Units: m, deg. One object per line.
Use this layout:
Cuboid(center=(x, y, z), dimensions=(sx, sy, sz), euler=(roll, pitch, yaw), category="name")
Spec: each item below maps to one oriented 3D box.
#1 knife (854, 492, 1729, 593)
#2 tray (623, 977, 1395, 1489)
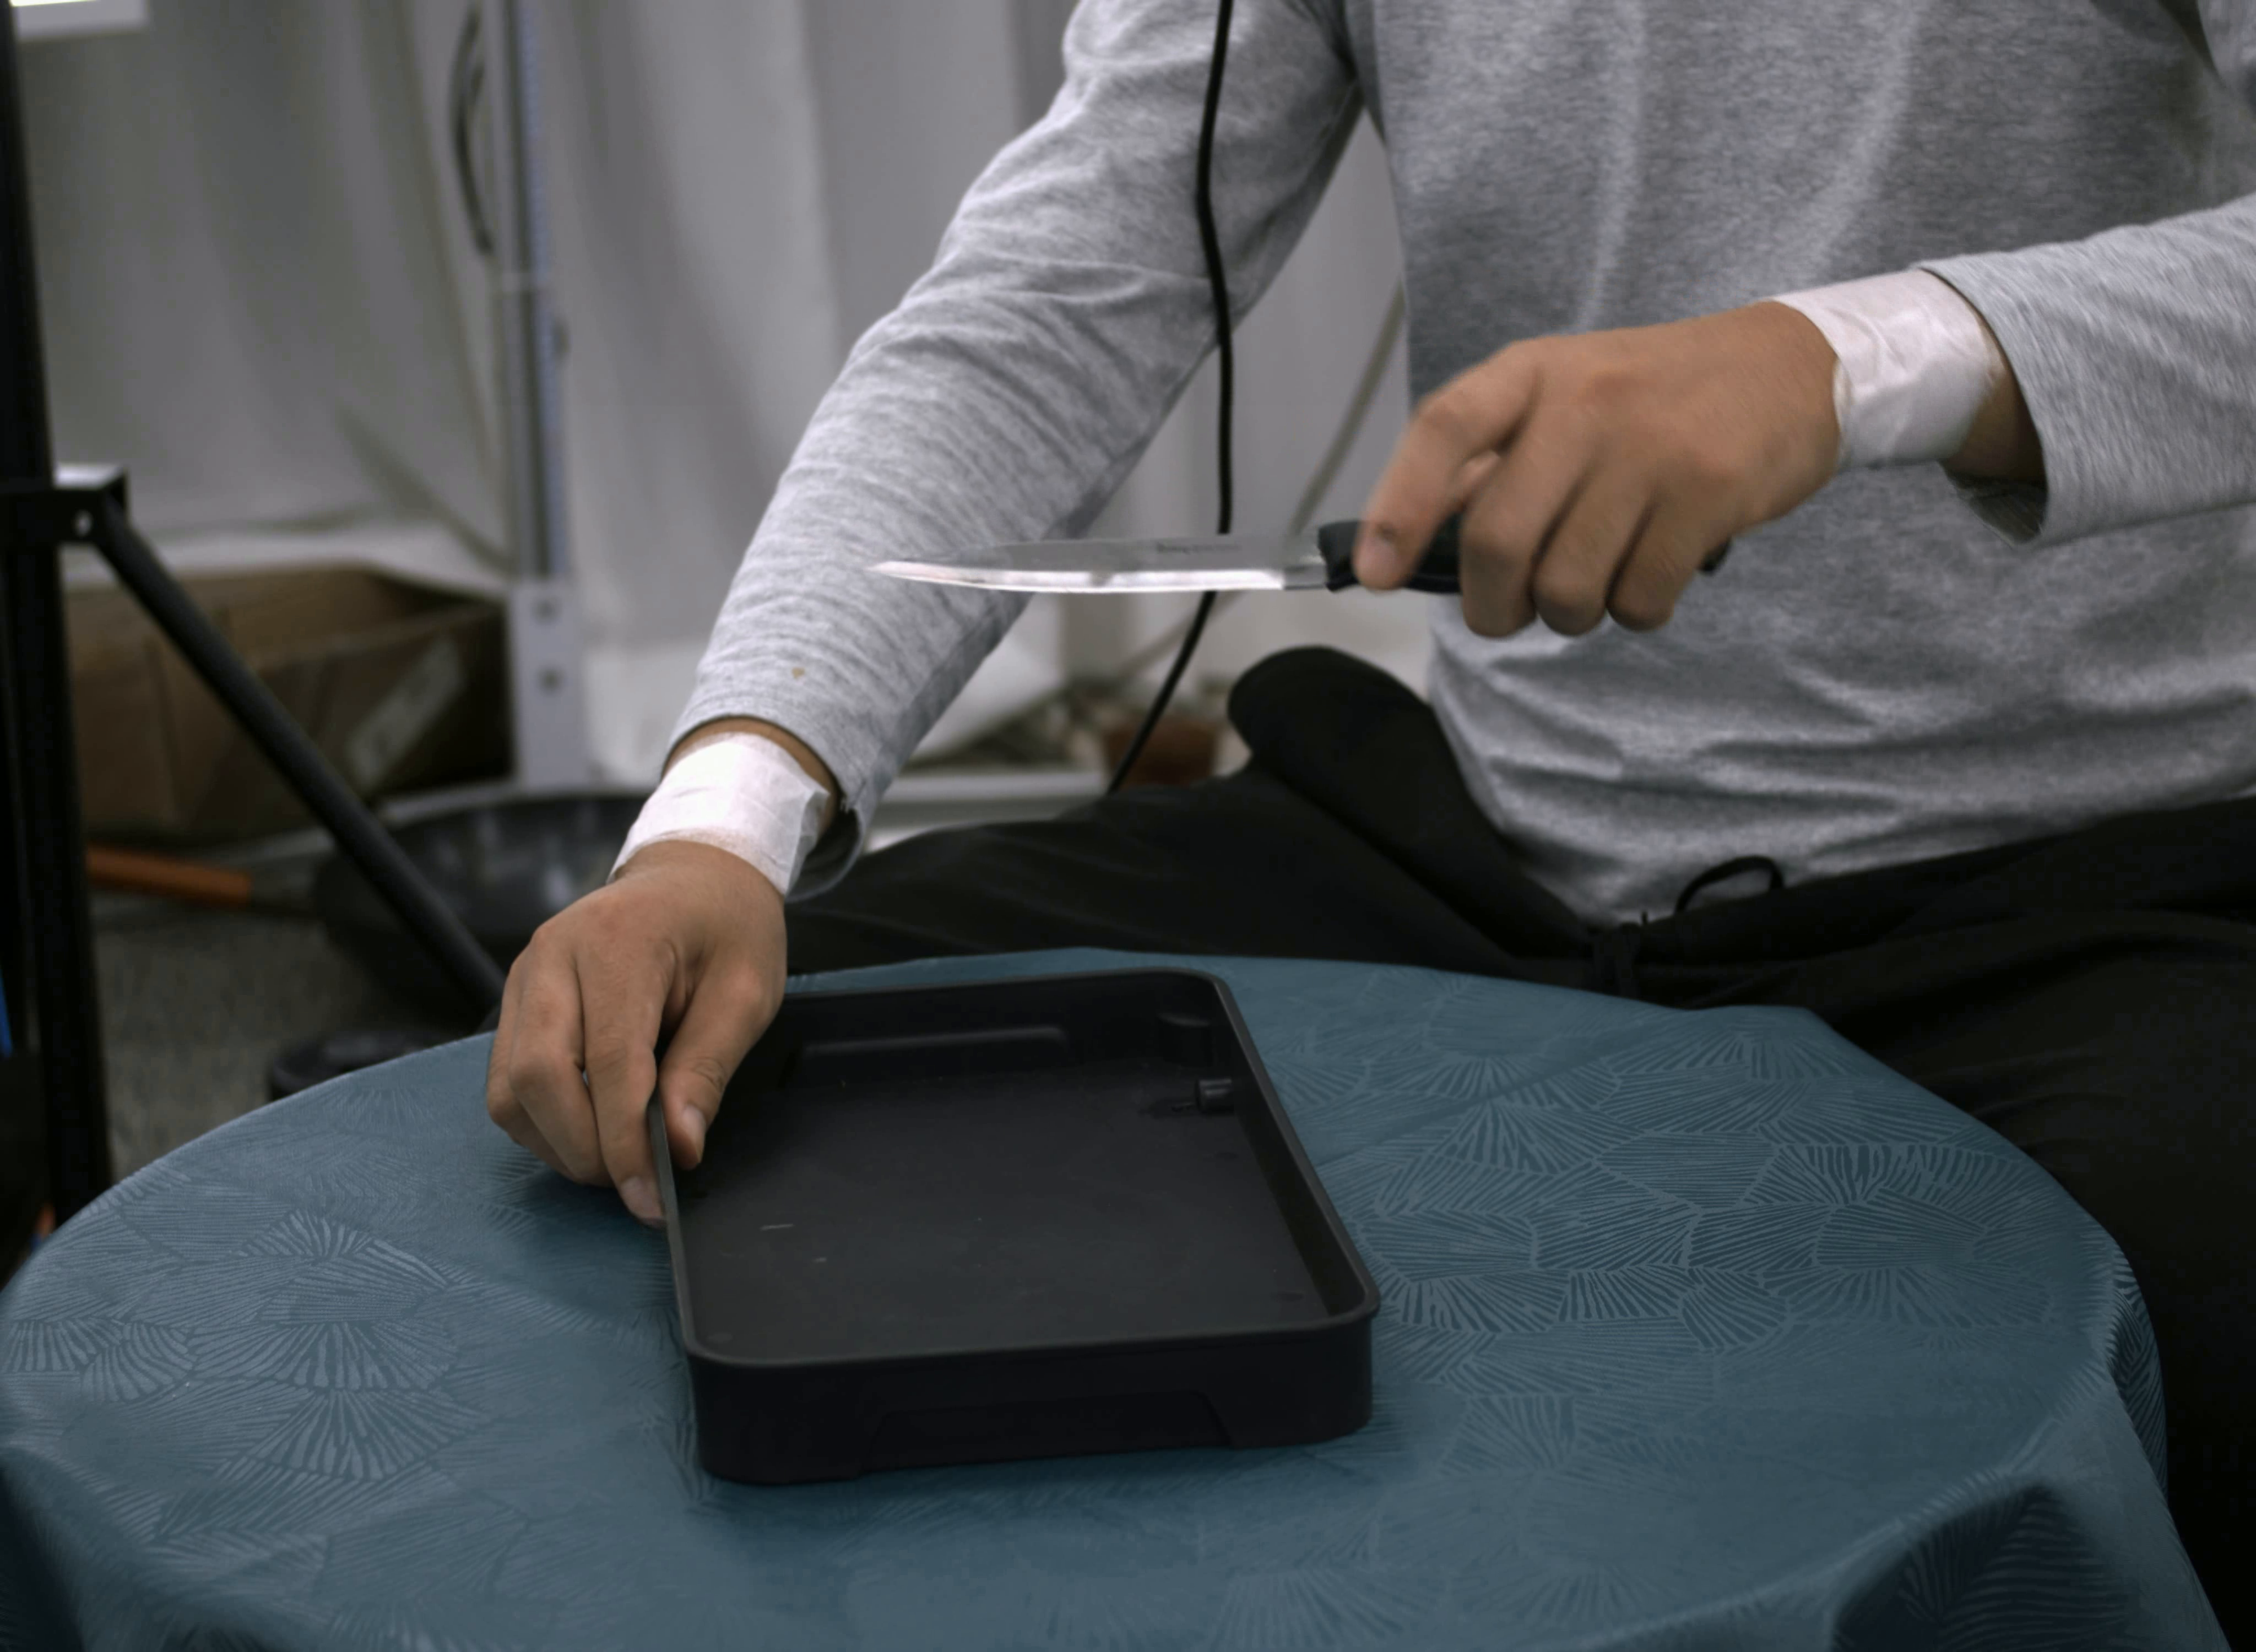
Cuboid(center=(0.044, -0.075, 1.438), dimensions=(0.236, 0.016, 0.025), euler=(-3, 48, -1), category="knife")
Cuboid(center=(-0.041, 0.108, 1.502), dimensions=(0.182, 0.037, 0.321), euler=(-4, 15, -8), category="tray")
